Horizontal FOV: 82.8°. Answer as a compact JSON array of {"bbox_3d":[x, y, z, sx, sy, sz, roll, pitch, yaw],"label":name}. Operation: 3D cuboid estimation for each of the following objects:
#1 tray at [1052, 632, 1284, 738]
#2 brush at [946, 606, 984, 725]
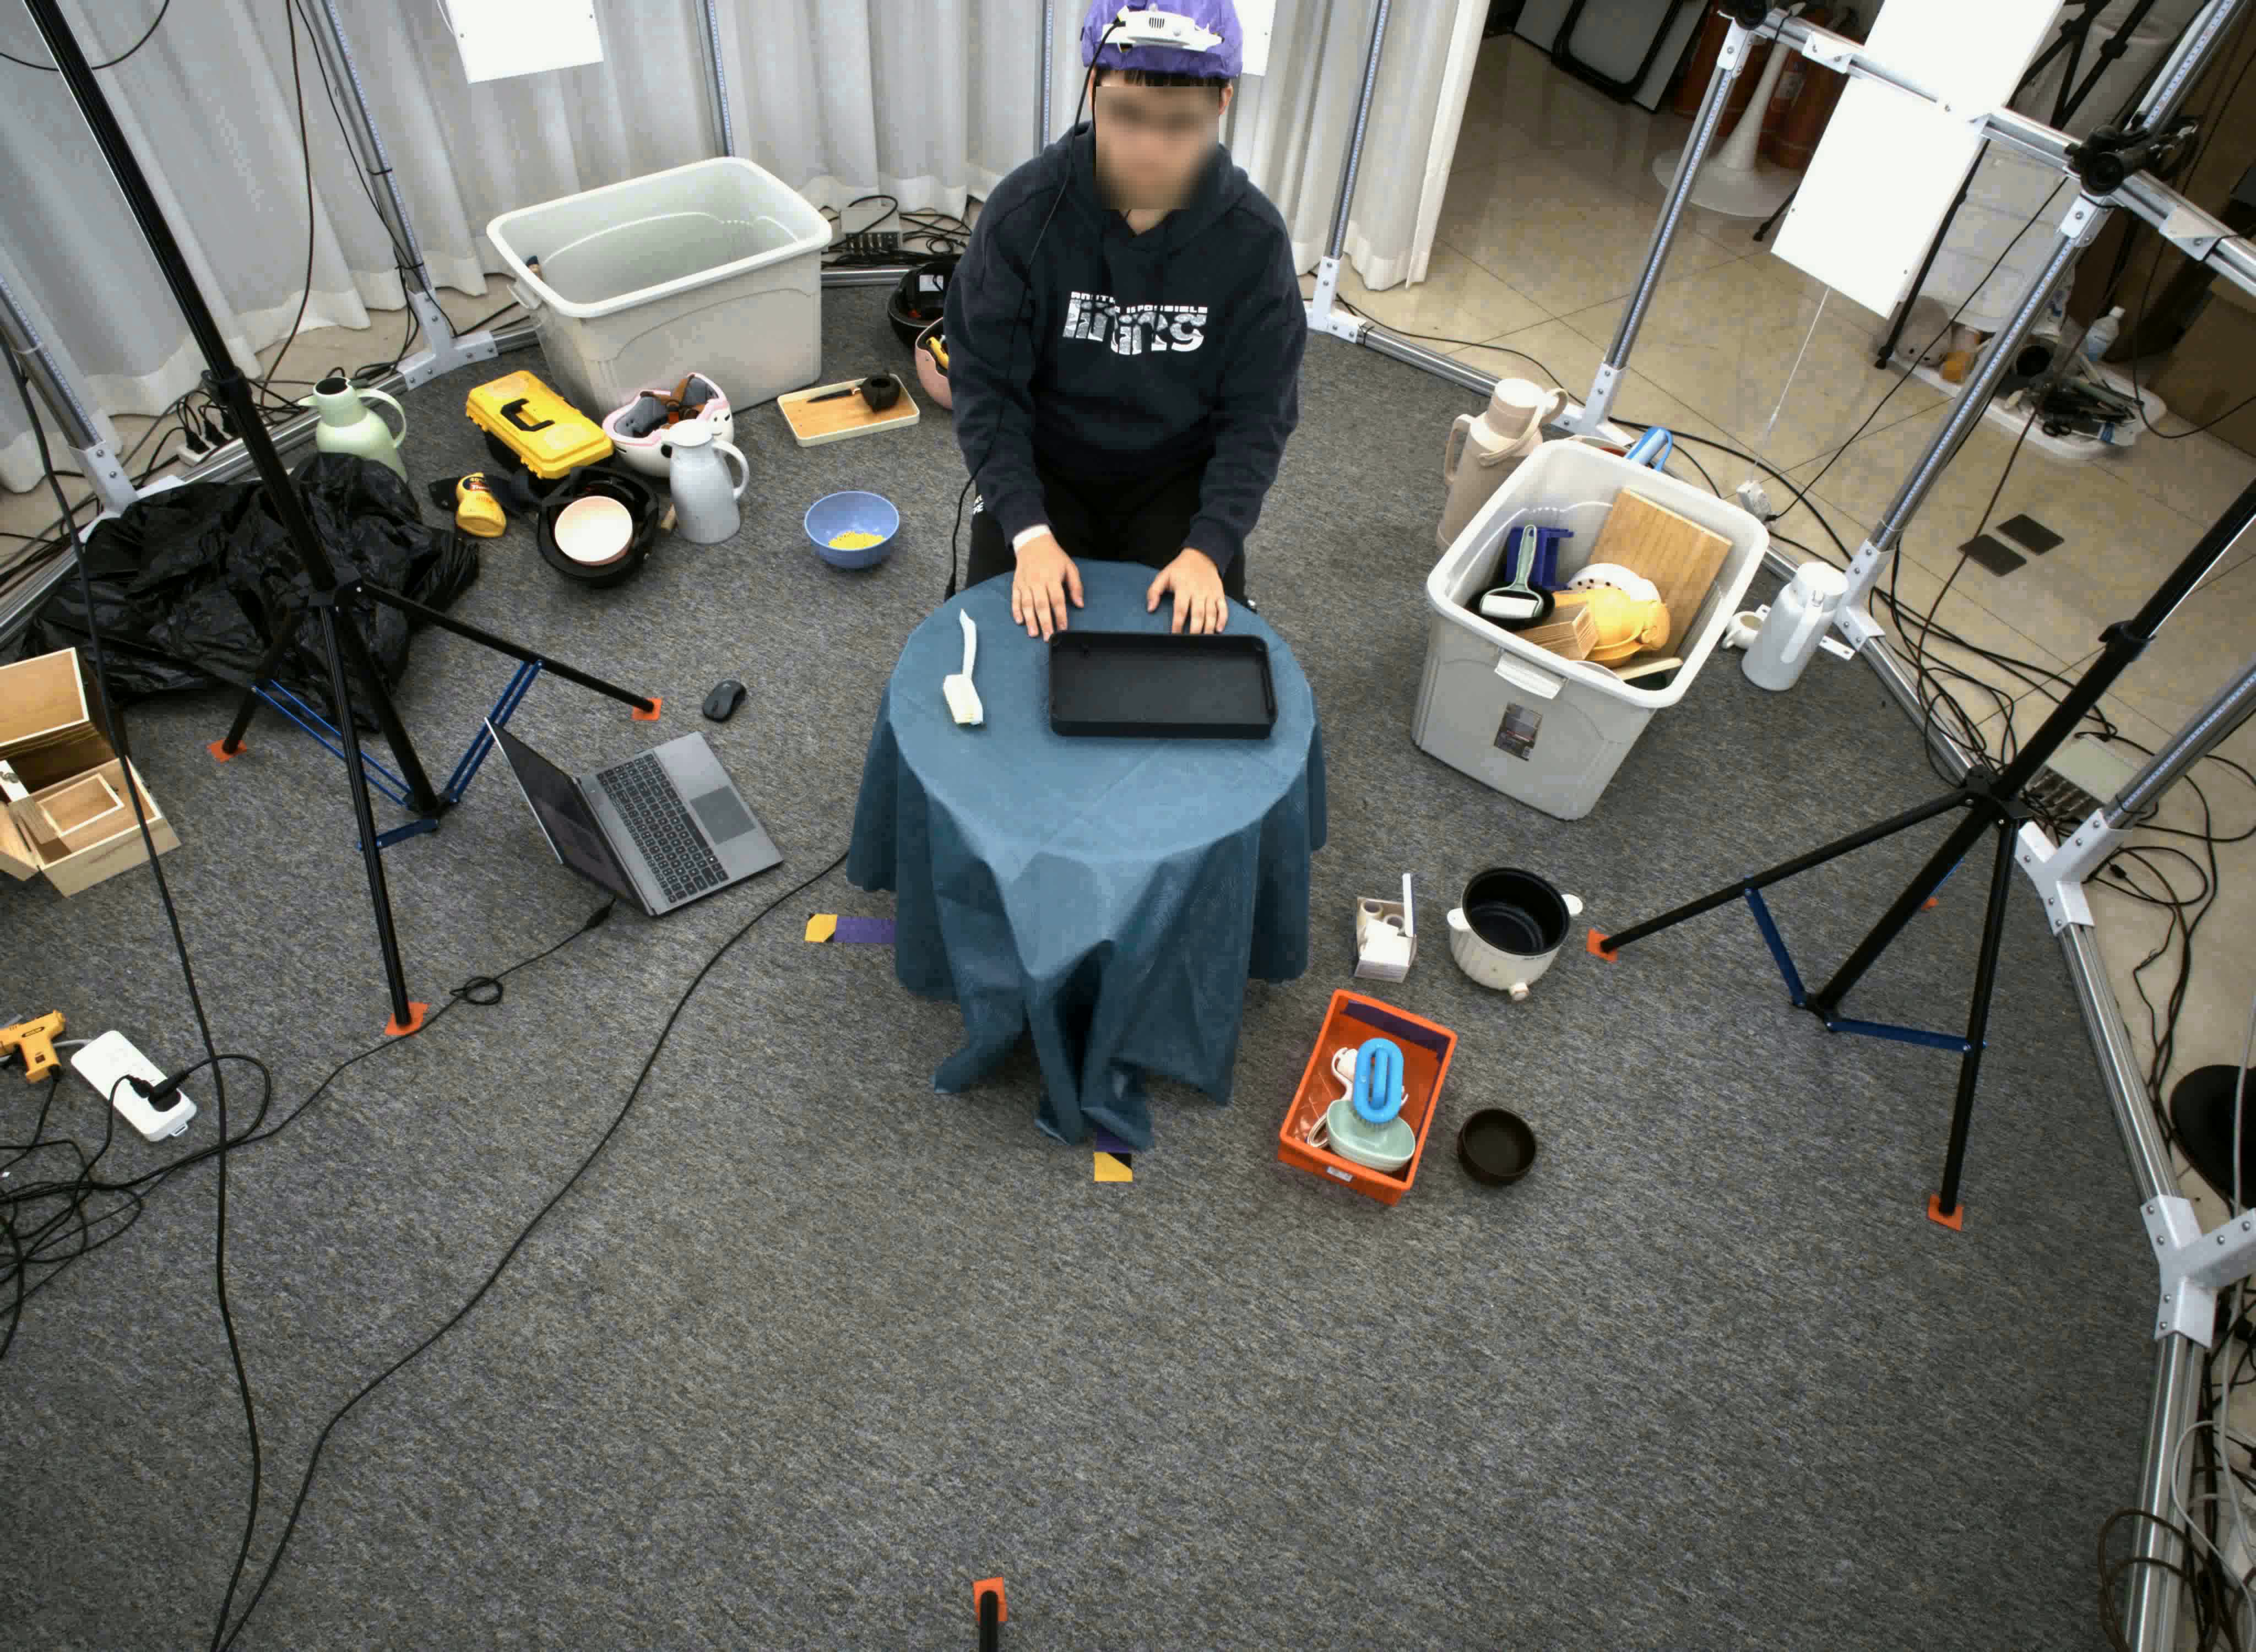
[{"bbox_3d":[0.053,-0.202,1.822,0.317,0.036,0.189,-1,48,-5],"label":"tray"},{"bbox_3d":[-0.235,-0.232,1.824,0.049,0.037,0.234,2,49,-13],"label":"brush"}]
